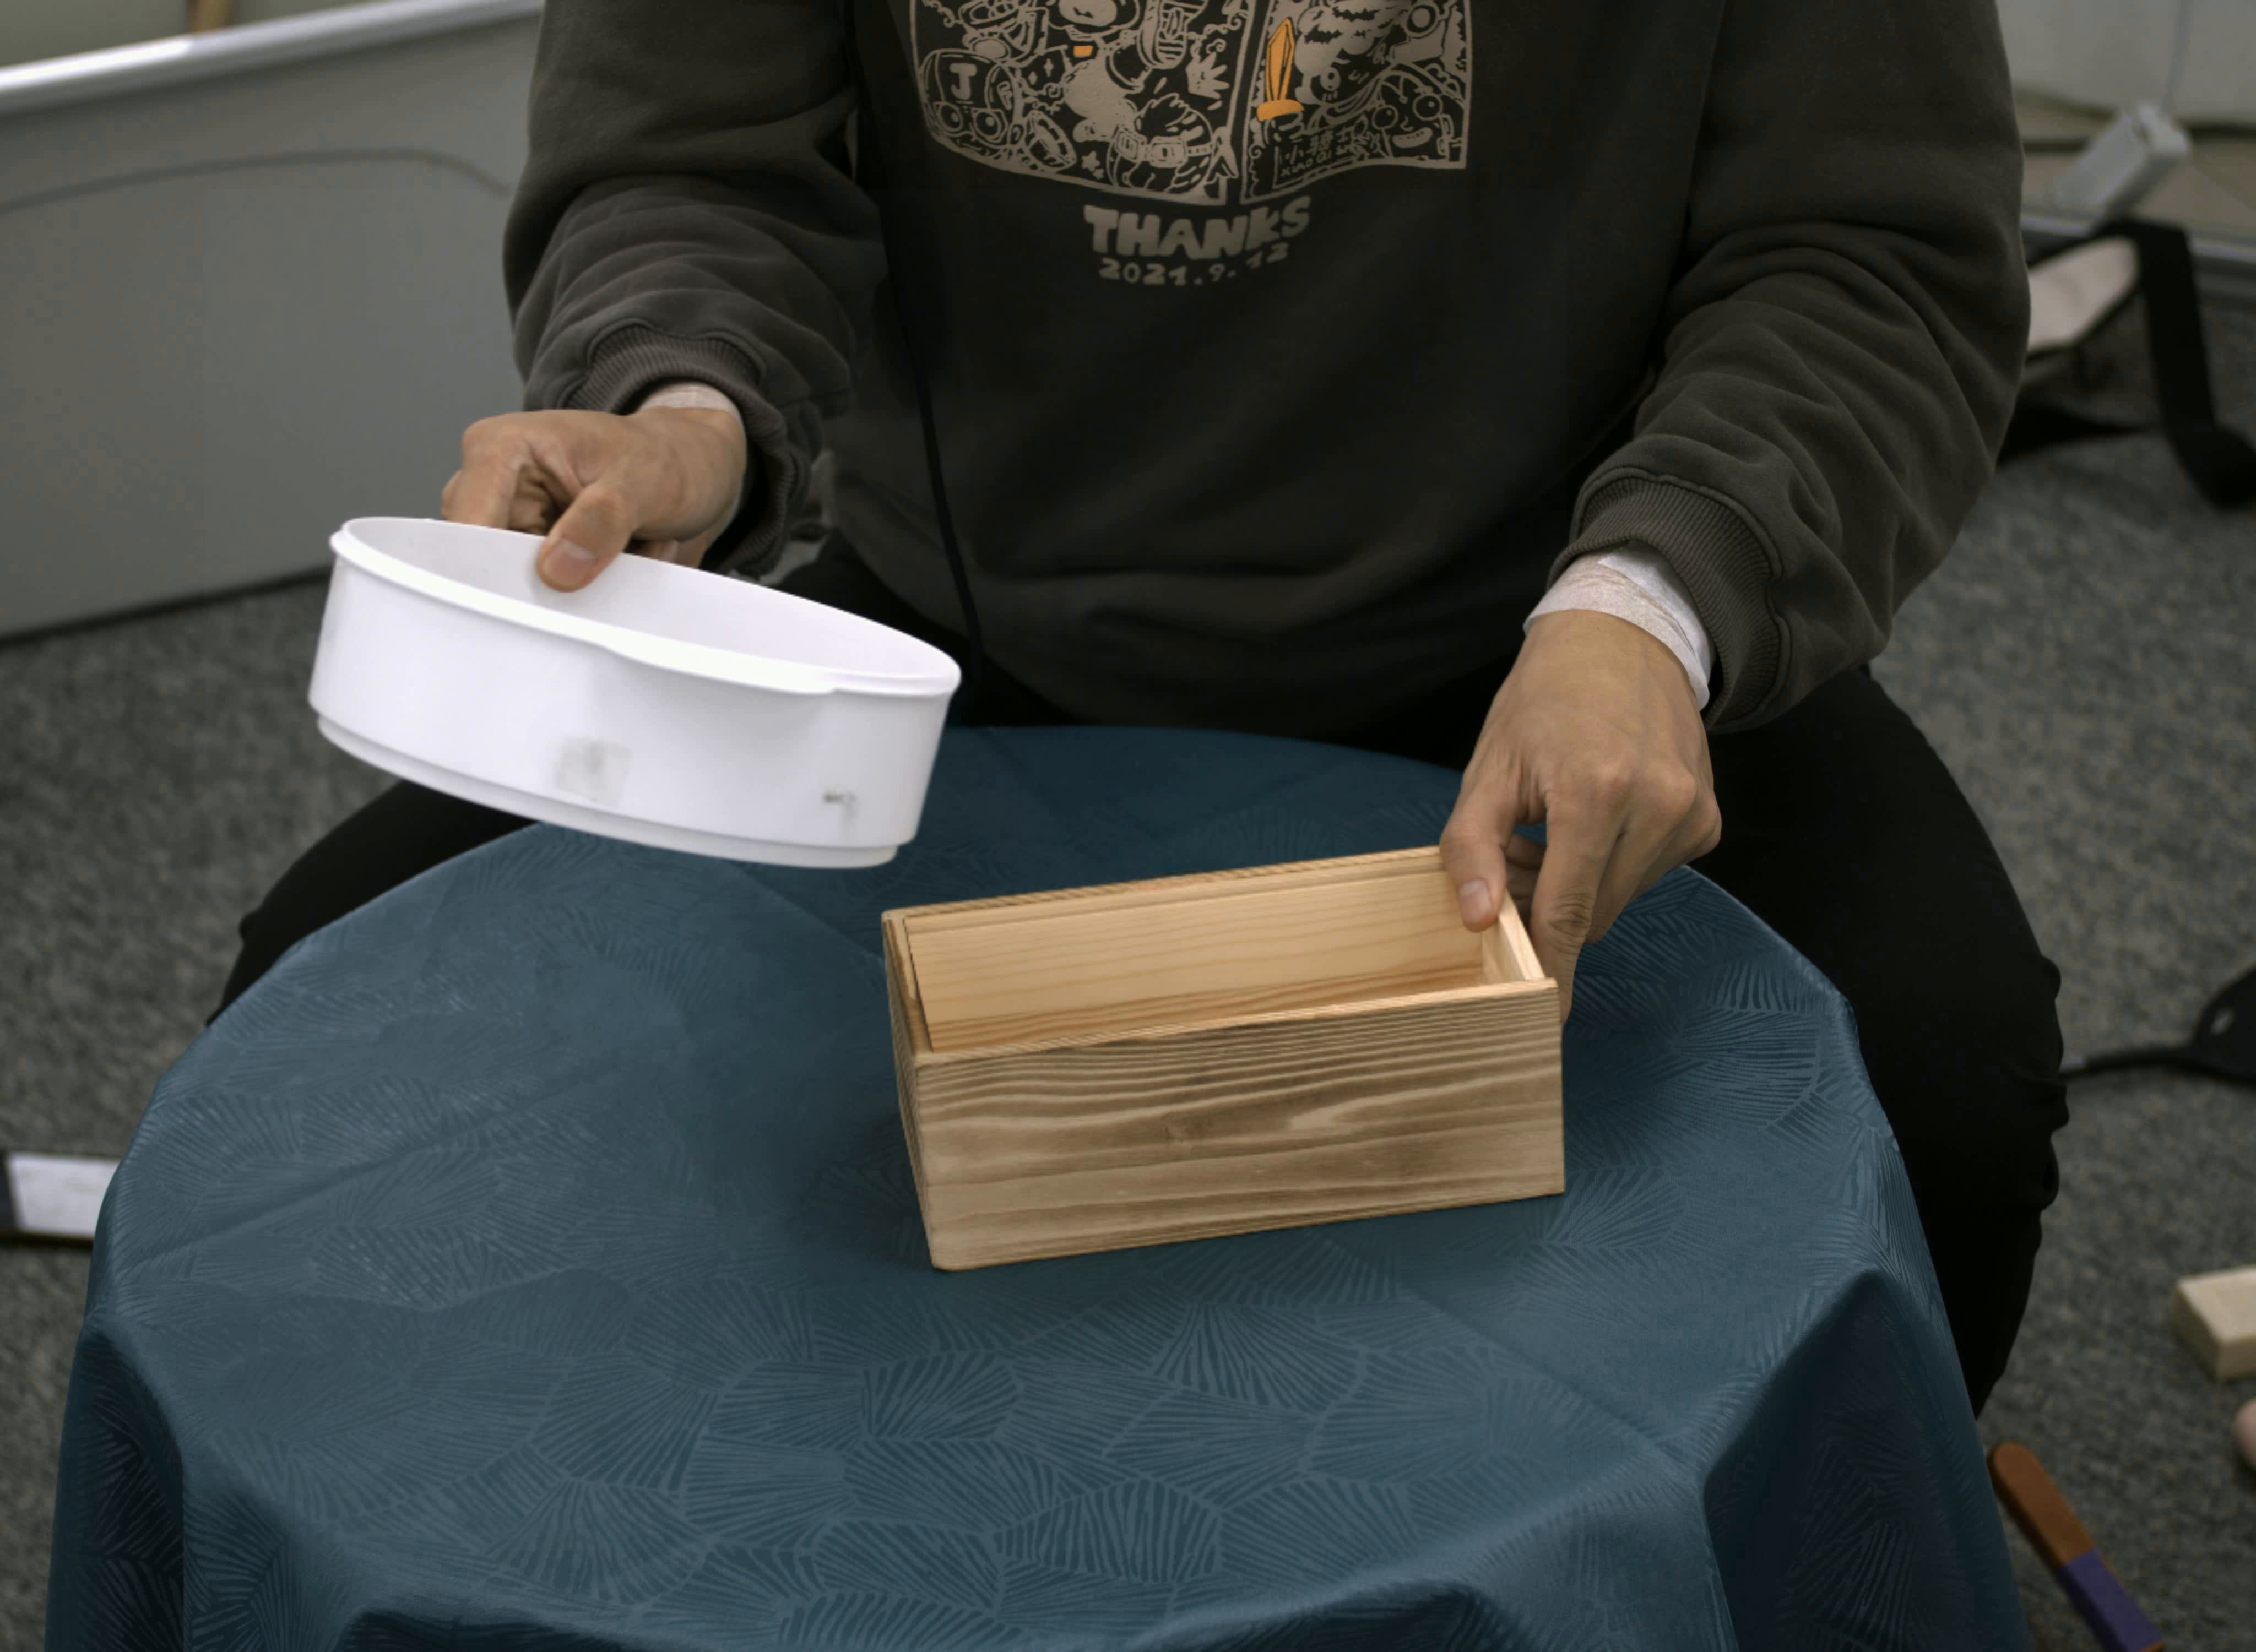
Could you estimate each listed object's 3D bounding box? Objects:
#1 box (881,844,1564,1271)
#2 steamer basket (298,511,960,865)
[{"bbox_3d":[0.030,0.075,1.861,0.211,0.079,0.109,-7,27,-7],"label":"box"},{"bbox_3d":[-0.156,-0.041,1.746,0.201,0.069,0.231,11,7,-20],"label":"steamer basket"}]
